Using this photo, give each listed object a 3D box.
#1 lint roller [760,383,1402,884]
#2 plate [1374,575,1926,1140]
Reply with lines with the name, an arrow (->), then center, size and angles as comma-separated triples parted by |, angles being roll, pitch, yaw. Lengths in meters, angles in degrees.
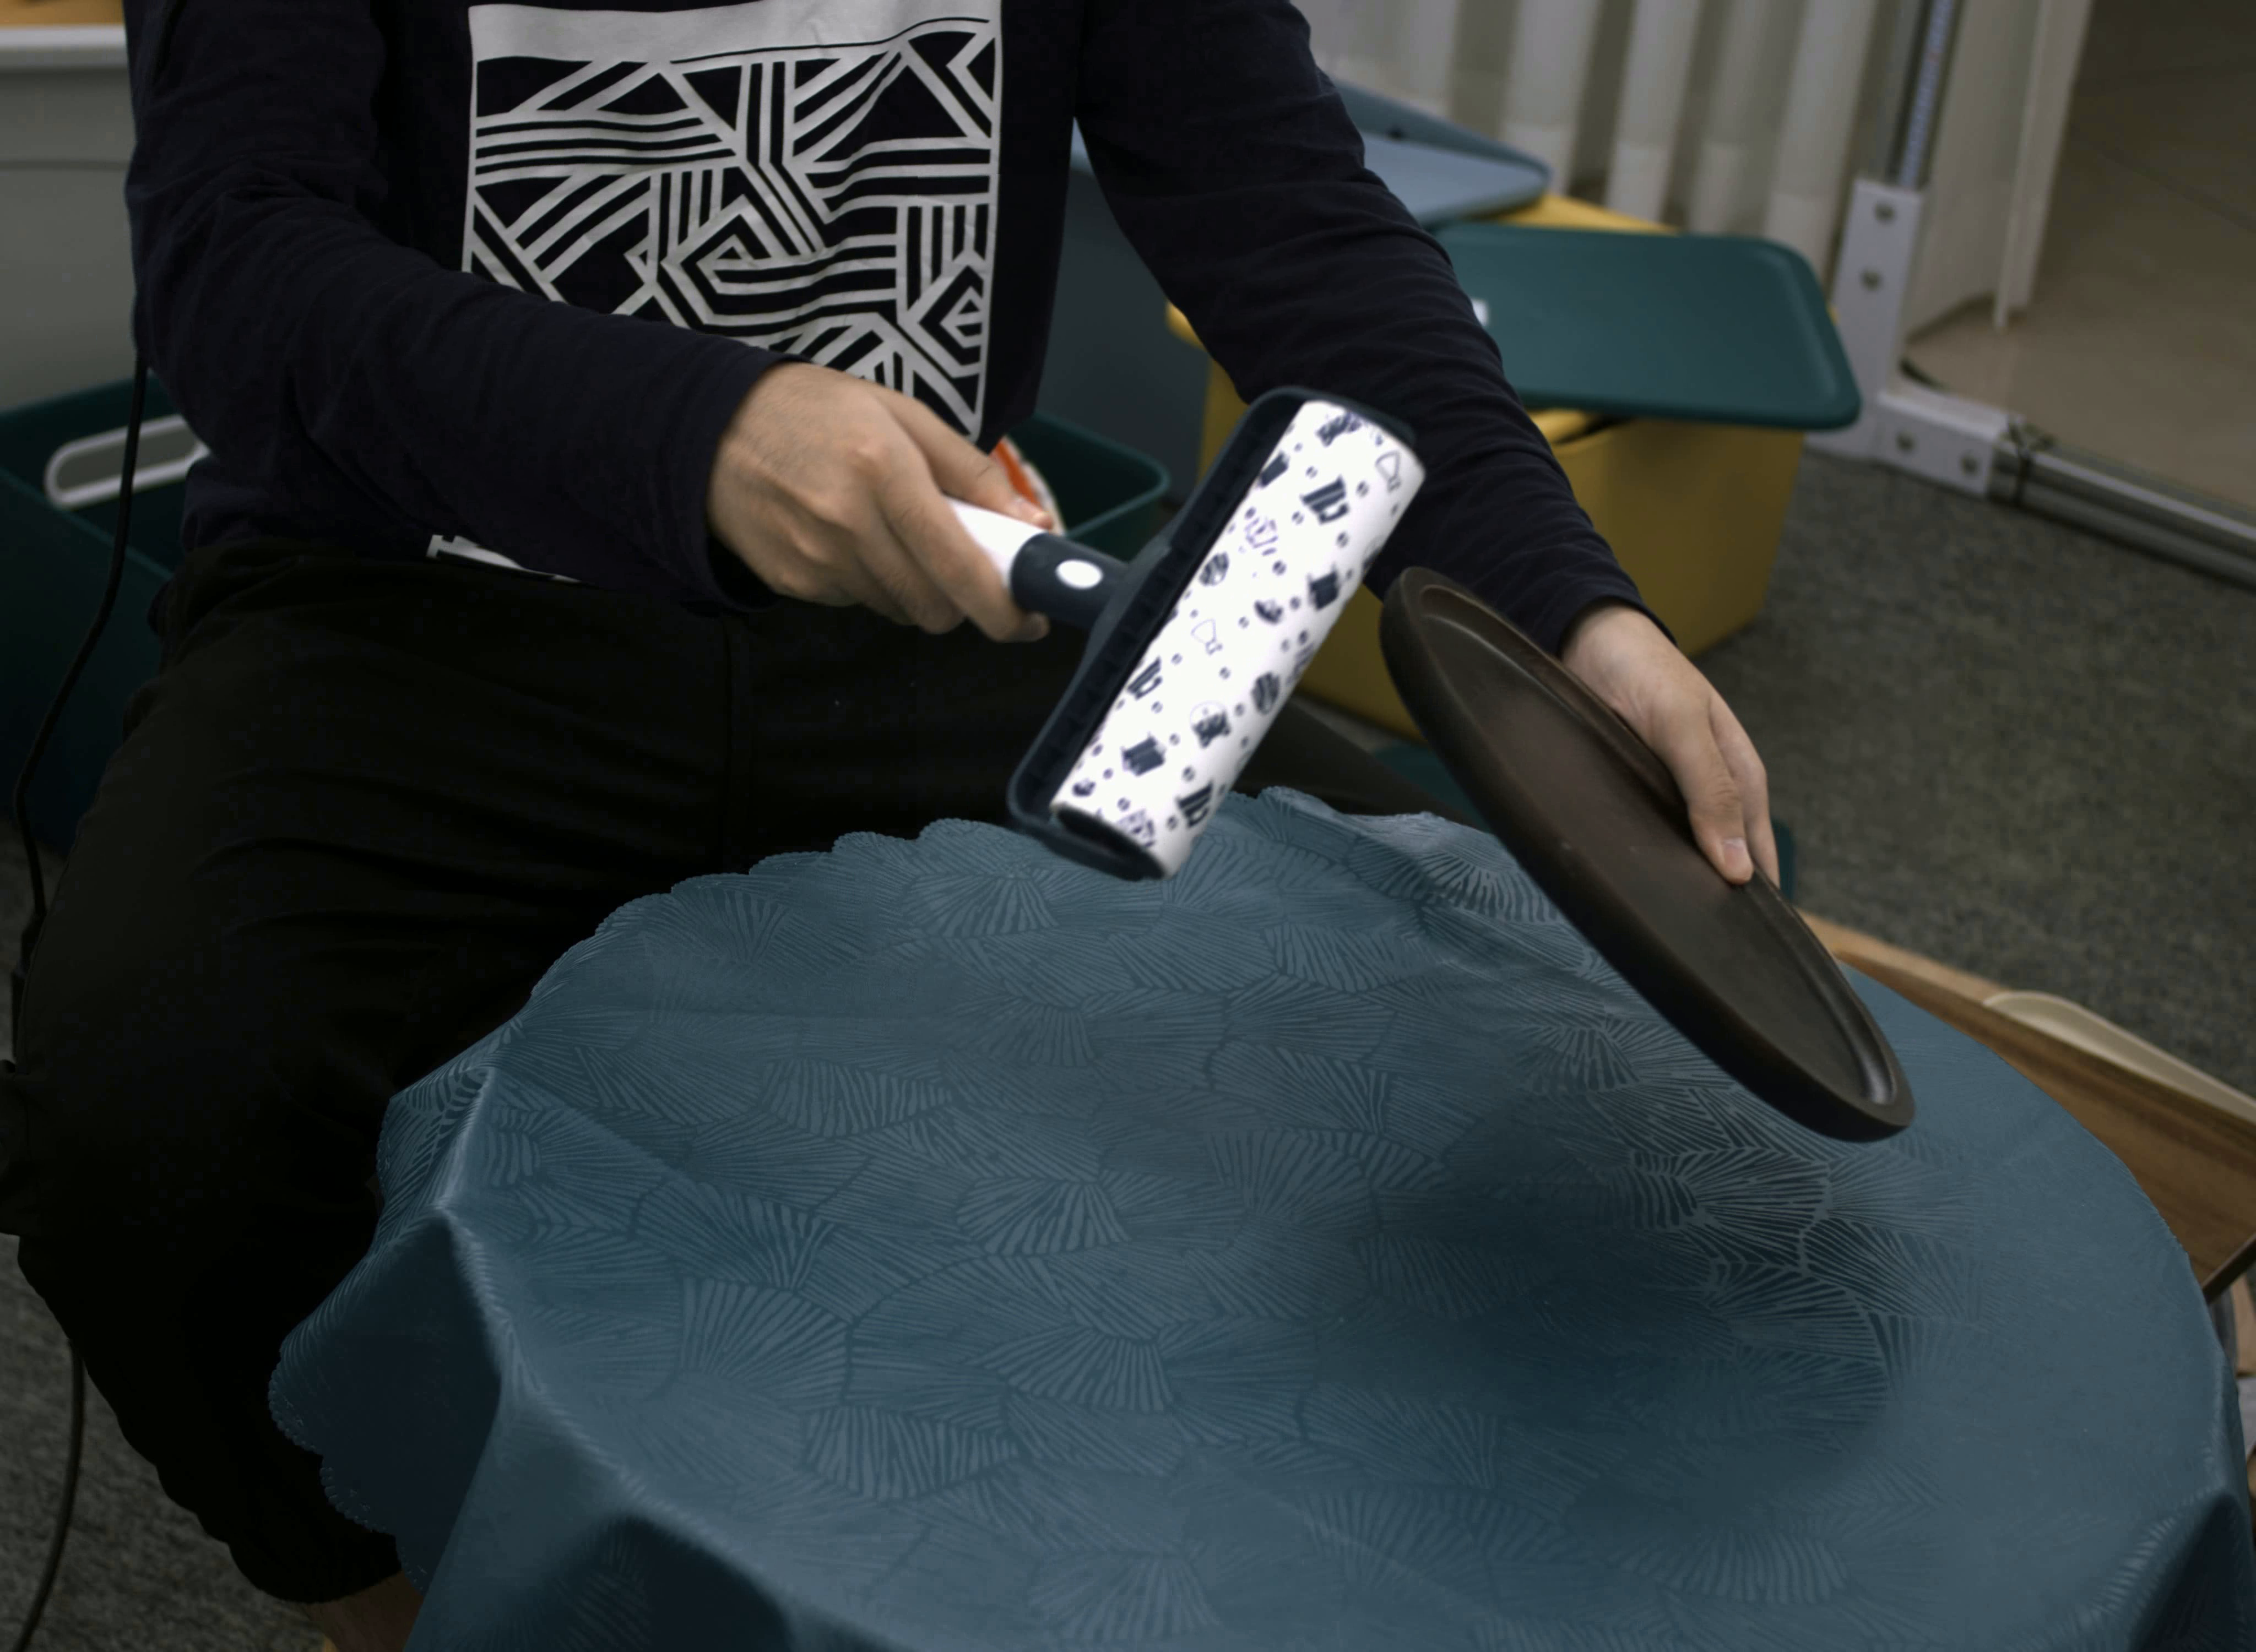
lint roller -> -0.042, -0.088, 1.789 | 0.249, 0.050, 0.176 | 20, 73, 40
plate -> 0.173, 0.011, 1.790 | 0.254, 0.029, 0.256 | 44, 12, -12
